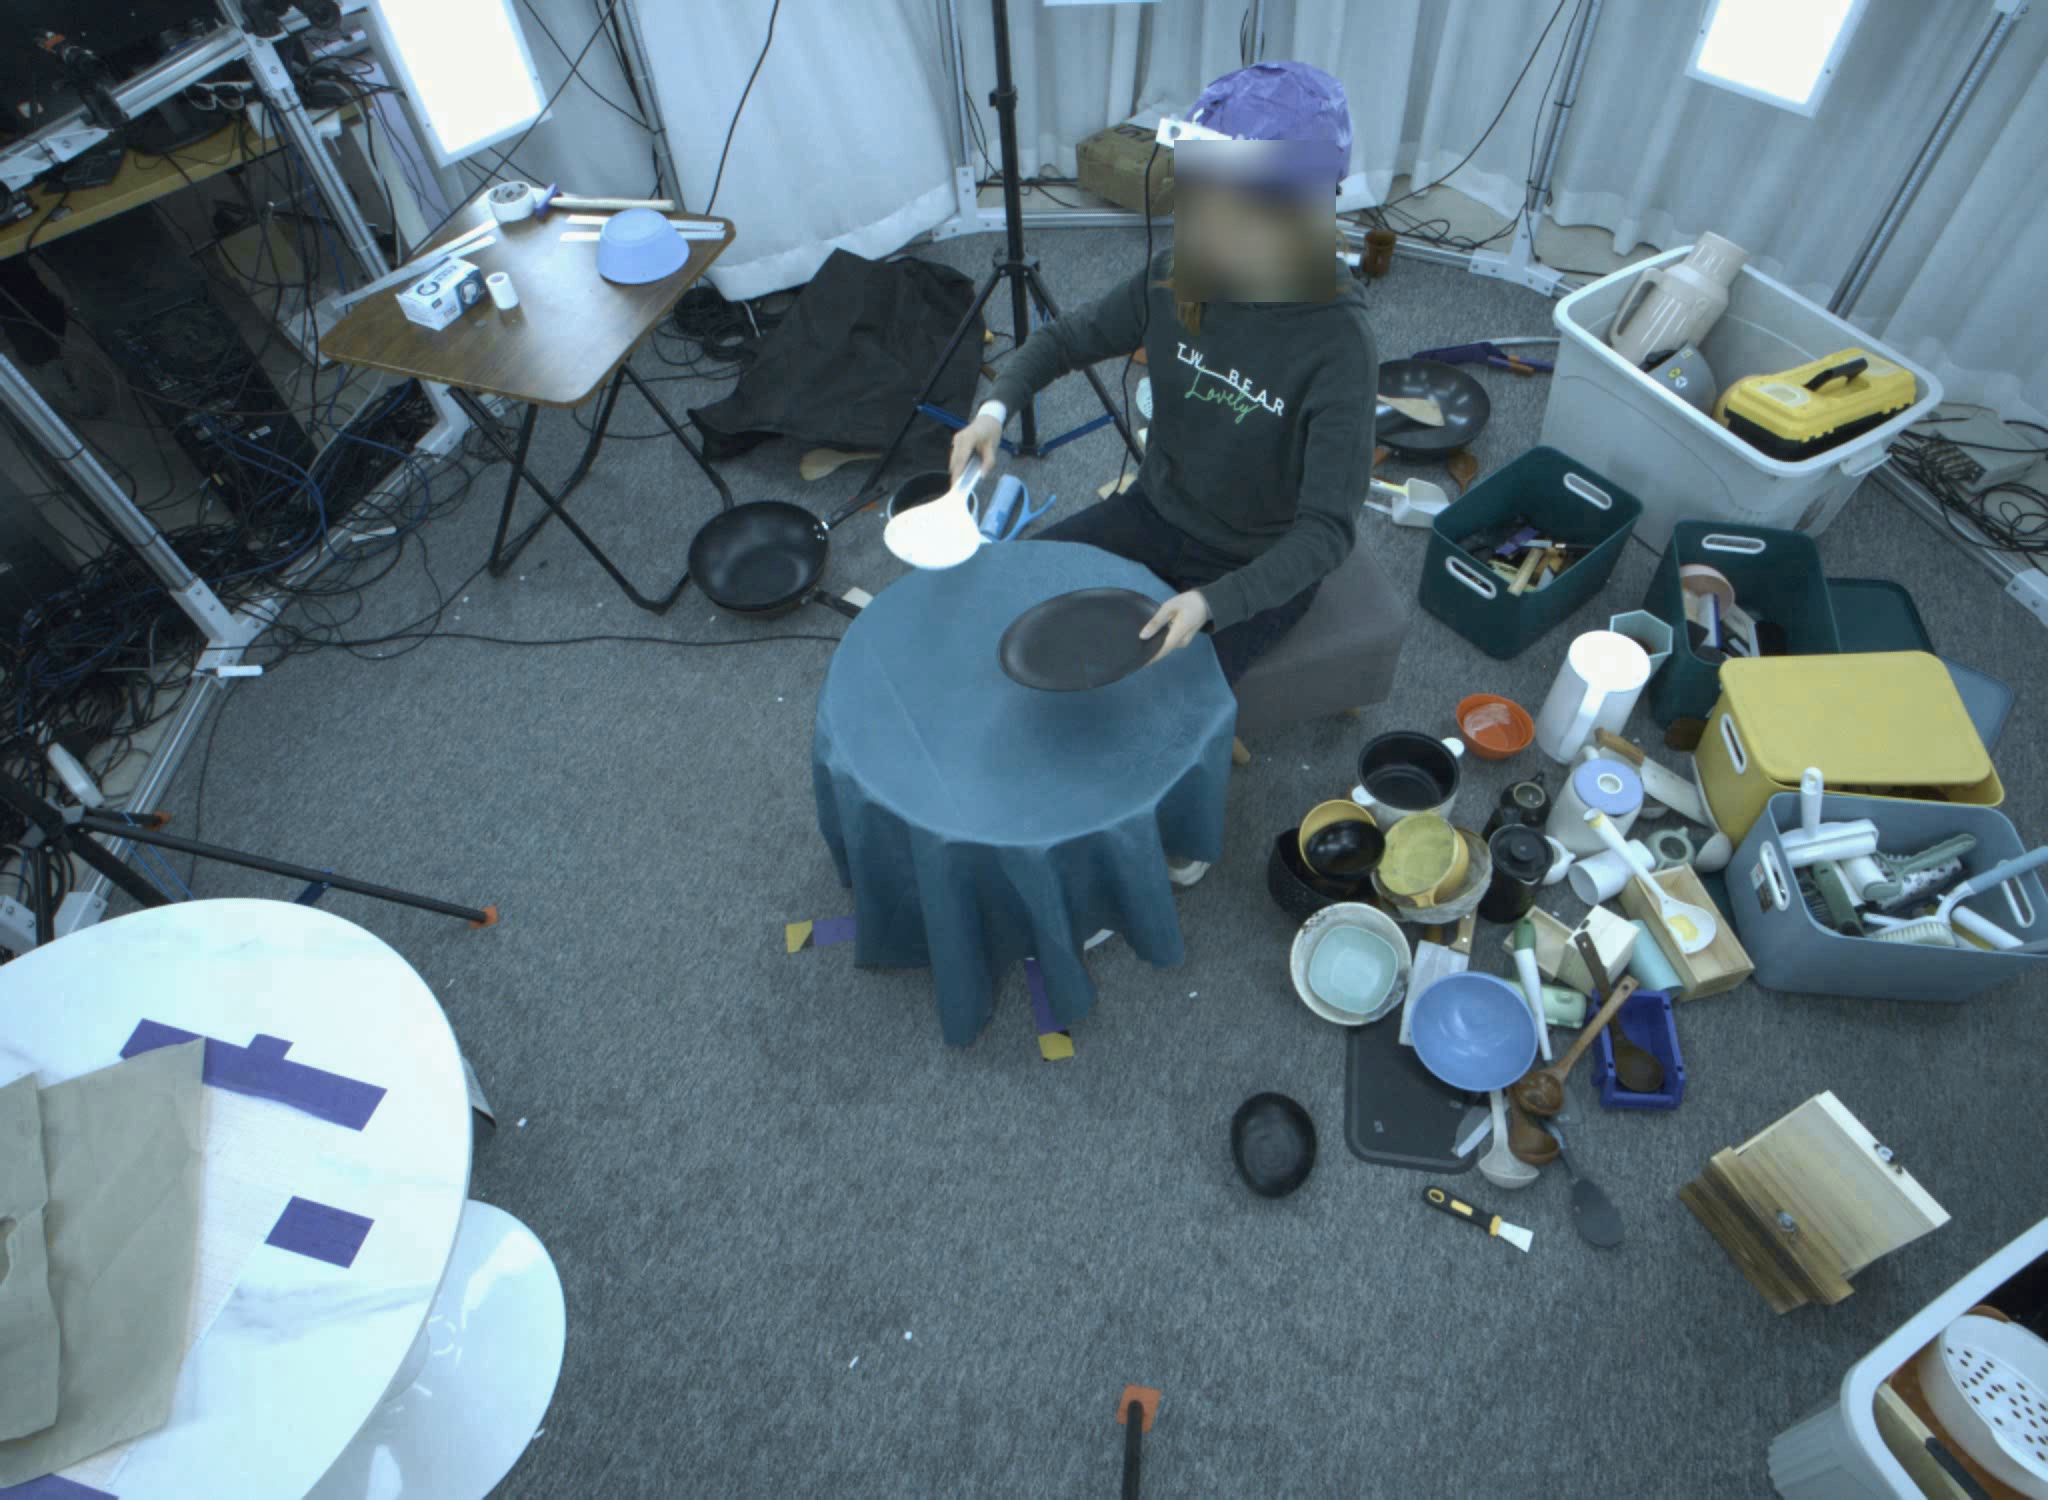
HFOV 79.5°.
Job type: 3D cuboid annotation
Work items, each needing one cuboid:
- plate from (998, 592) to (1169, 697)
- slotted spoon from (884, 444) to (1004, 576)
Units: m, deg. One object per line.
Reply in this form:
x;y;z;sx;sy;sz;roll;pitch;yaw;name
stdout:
0.083;-0.145;1.726;0.243;0.024;0.242;-8;40;8;plate
-0.102;-0.367;1.830;0.135;0.046;0.349;18;53;7;slotted spoon
